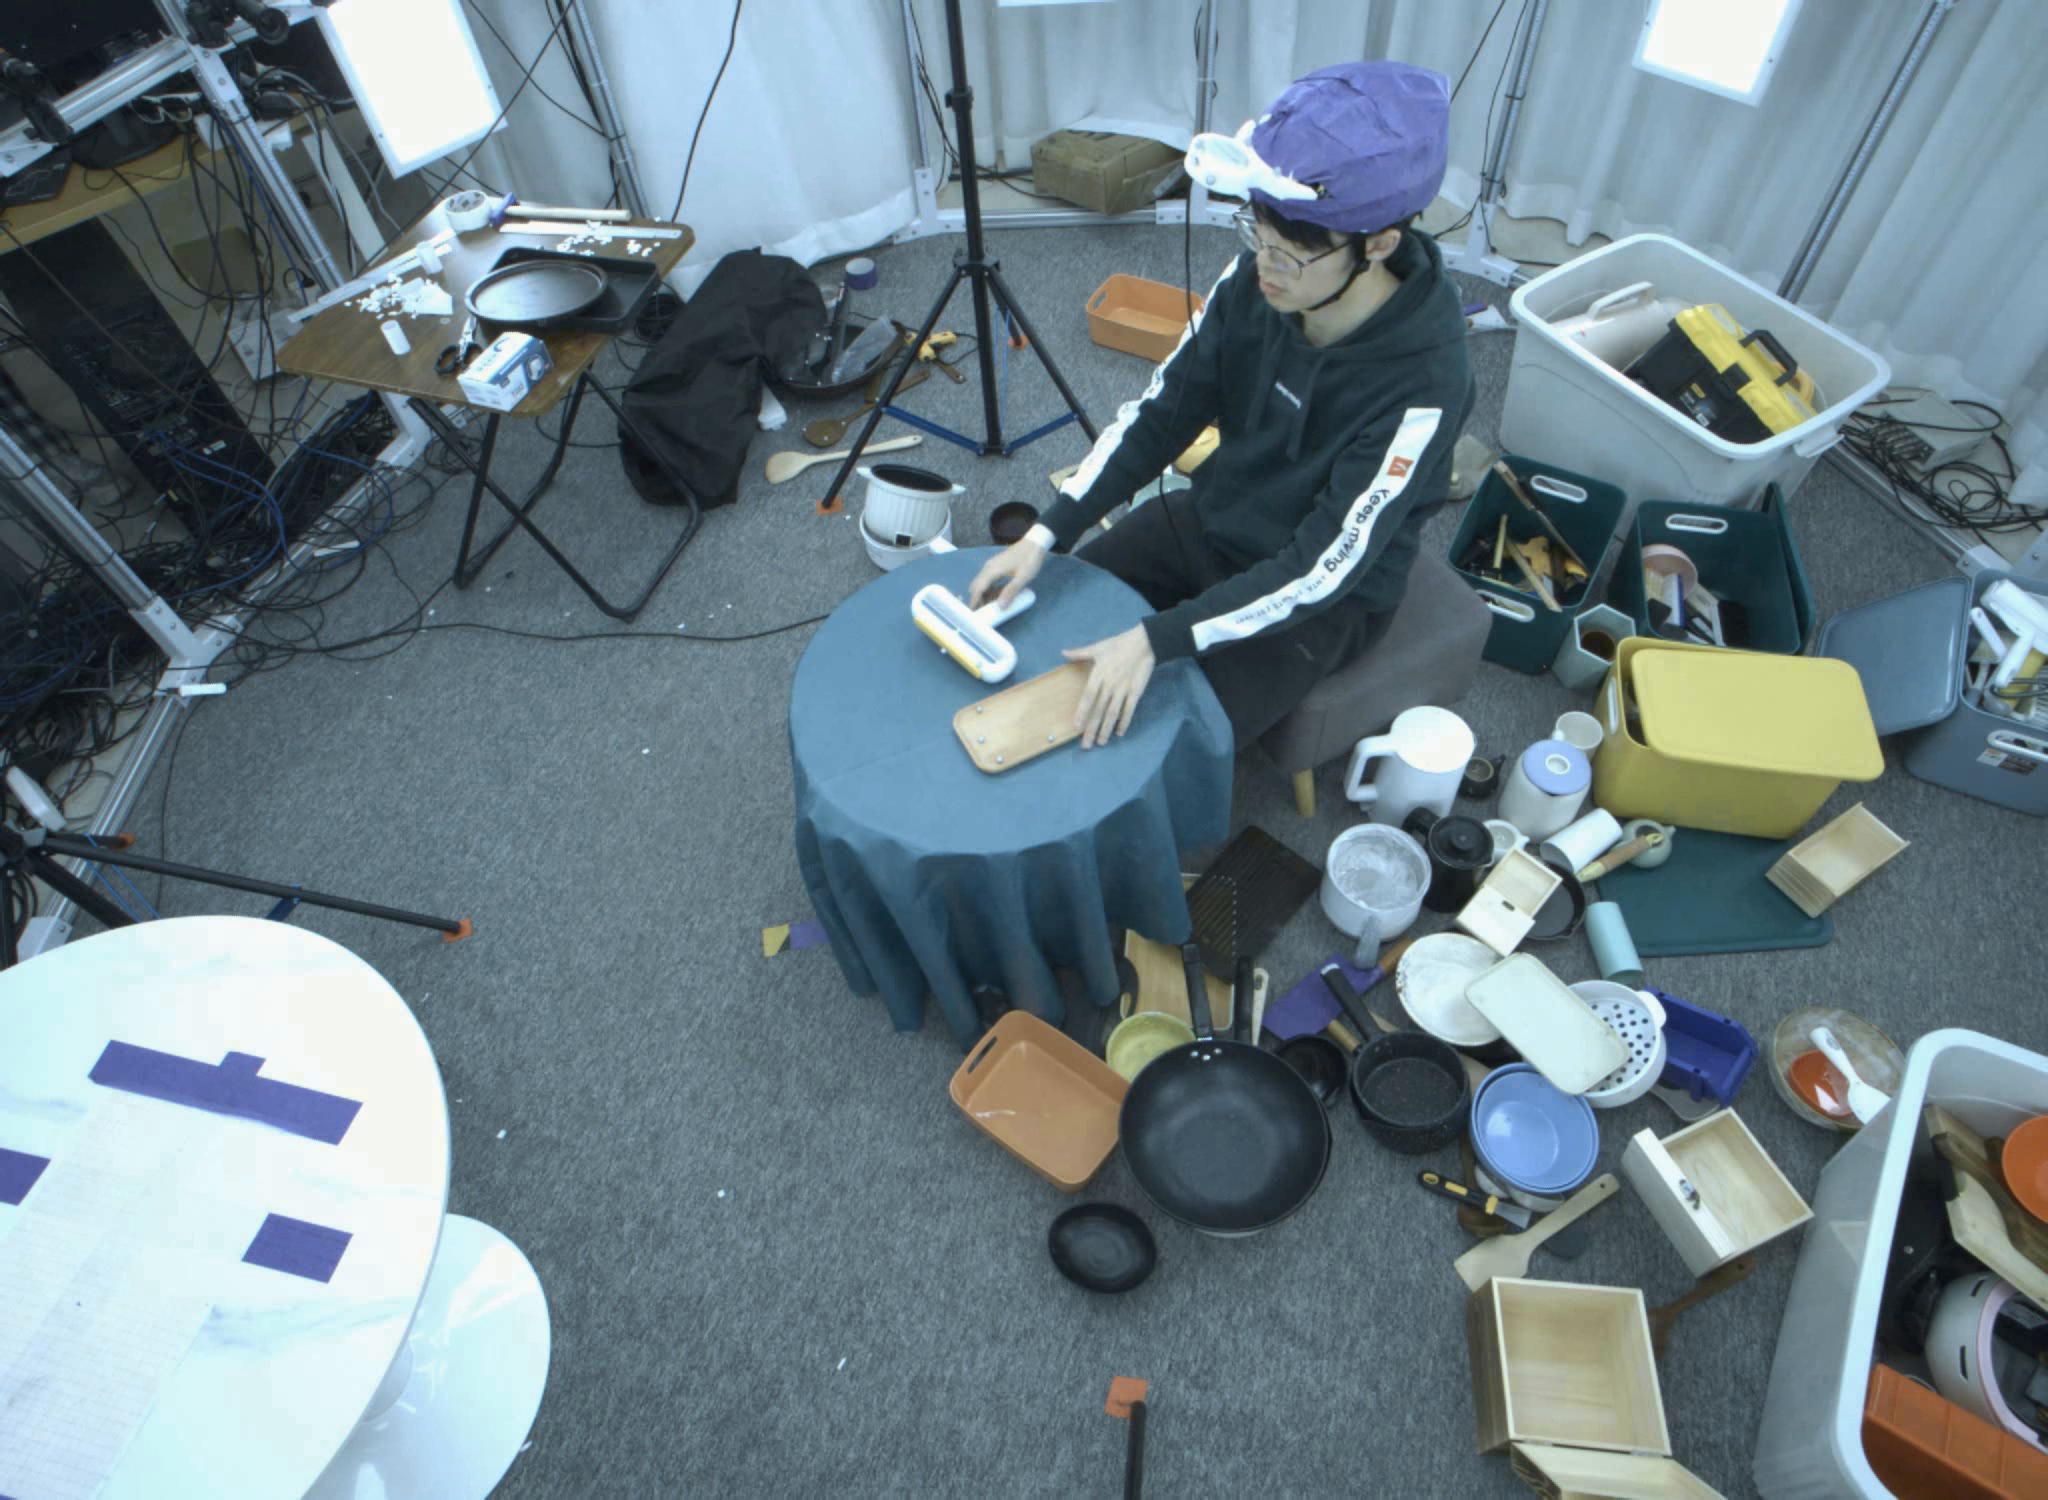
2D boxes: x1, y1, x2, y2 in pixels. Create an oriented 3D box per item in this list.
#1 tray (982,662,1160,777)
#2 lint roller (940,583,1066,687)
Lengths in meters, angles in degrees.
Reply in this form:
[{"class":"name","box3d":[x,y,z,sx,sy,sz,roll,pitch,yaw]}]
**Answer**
[{"class":"tray","box3d":[0.069,-0.046,1.803,0.252,0.023,0.128,-21,59,-13]},{"class":"lint roller","box3d":[-0.009,-0.192,1.901,0.195,0.074,0.190,-27,64,-34]}]
